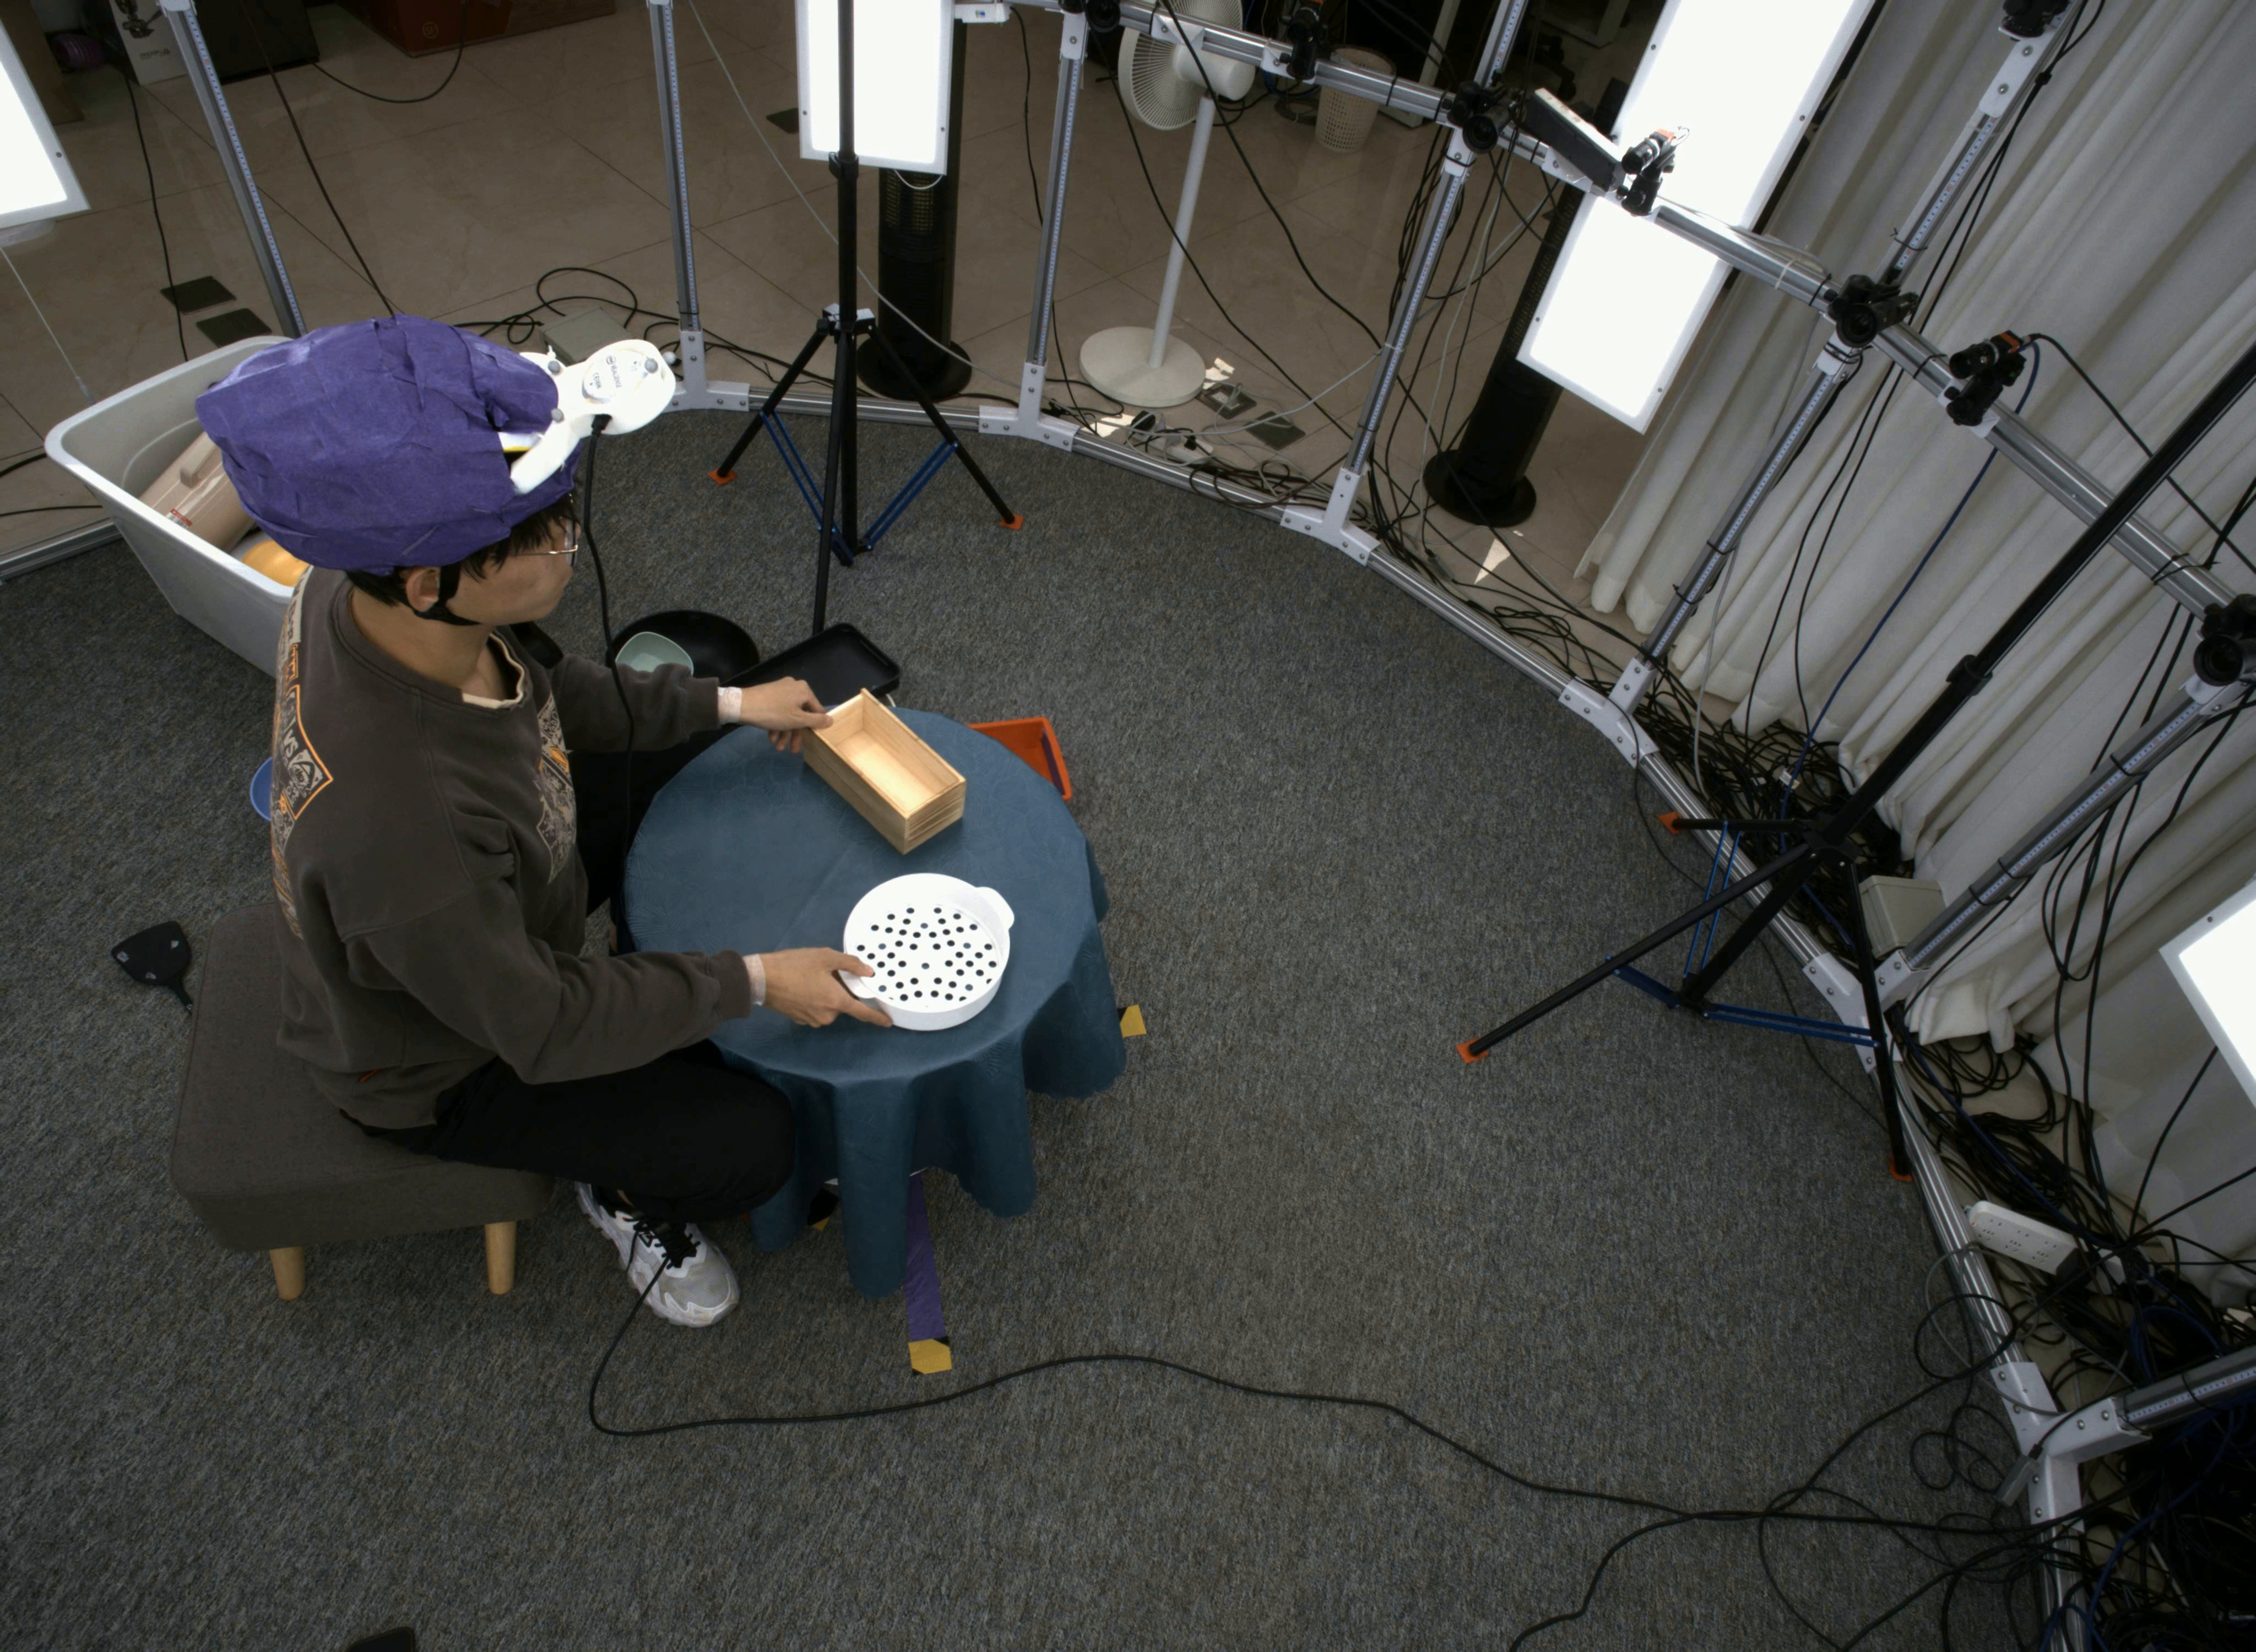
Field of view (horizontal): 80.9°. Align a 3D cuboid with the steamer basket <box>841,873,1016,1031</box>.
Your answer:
[{"bbox_3d":[-0.246,0.156,1.624,0.231,0.071,0.197,-28,63,-28],"label":"steamer basket"}]

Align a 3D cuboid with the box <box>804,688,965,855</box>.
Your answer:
[{"bbox_3d":[-0.331,-0.075,1.765,0.207,0.082,0.108,41,57,18],"label":"box"}]
